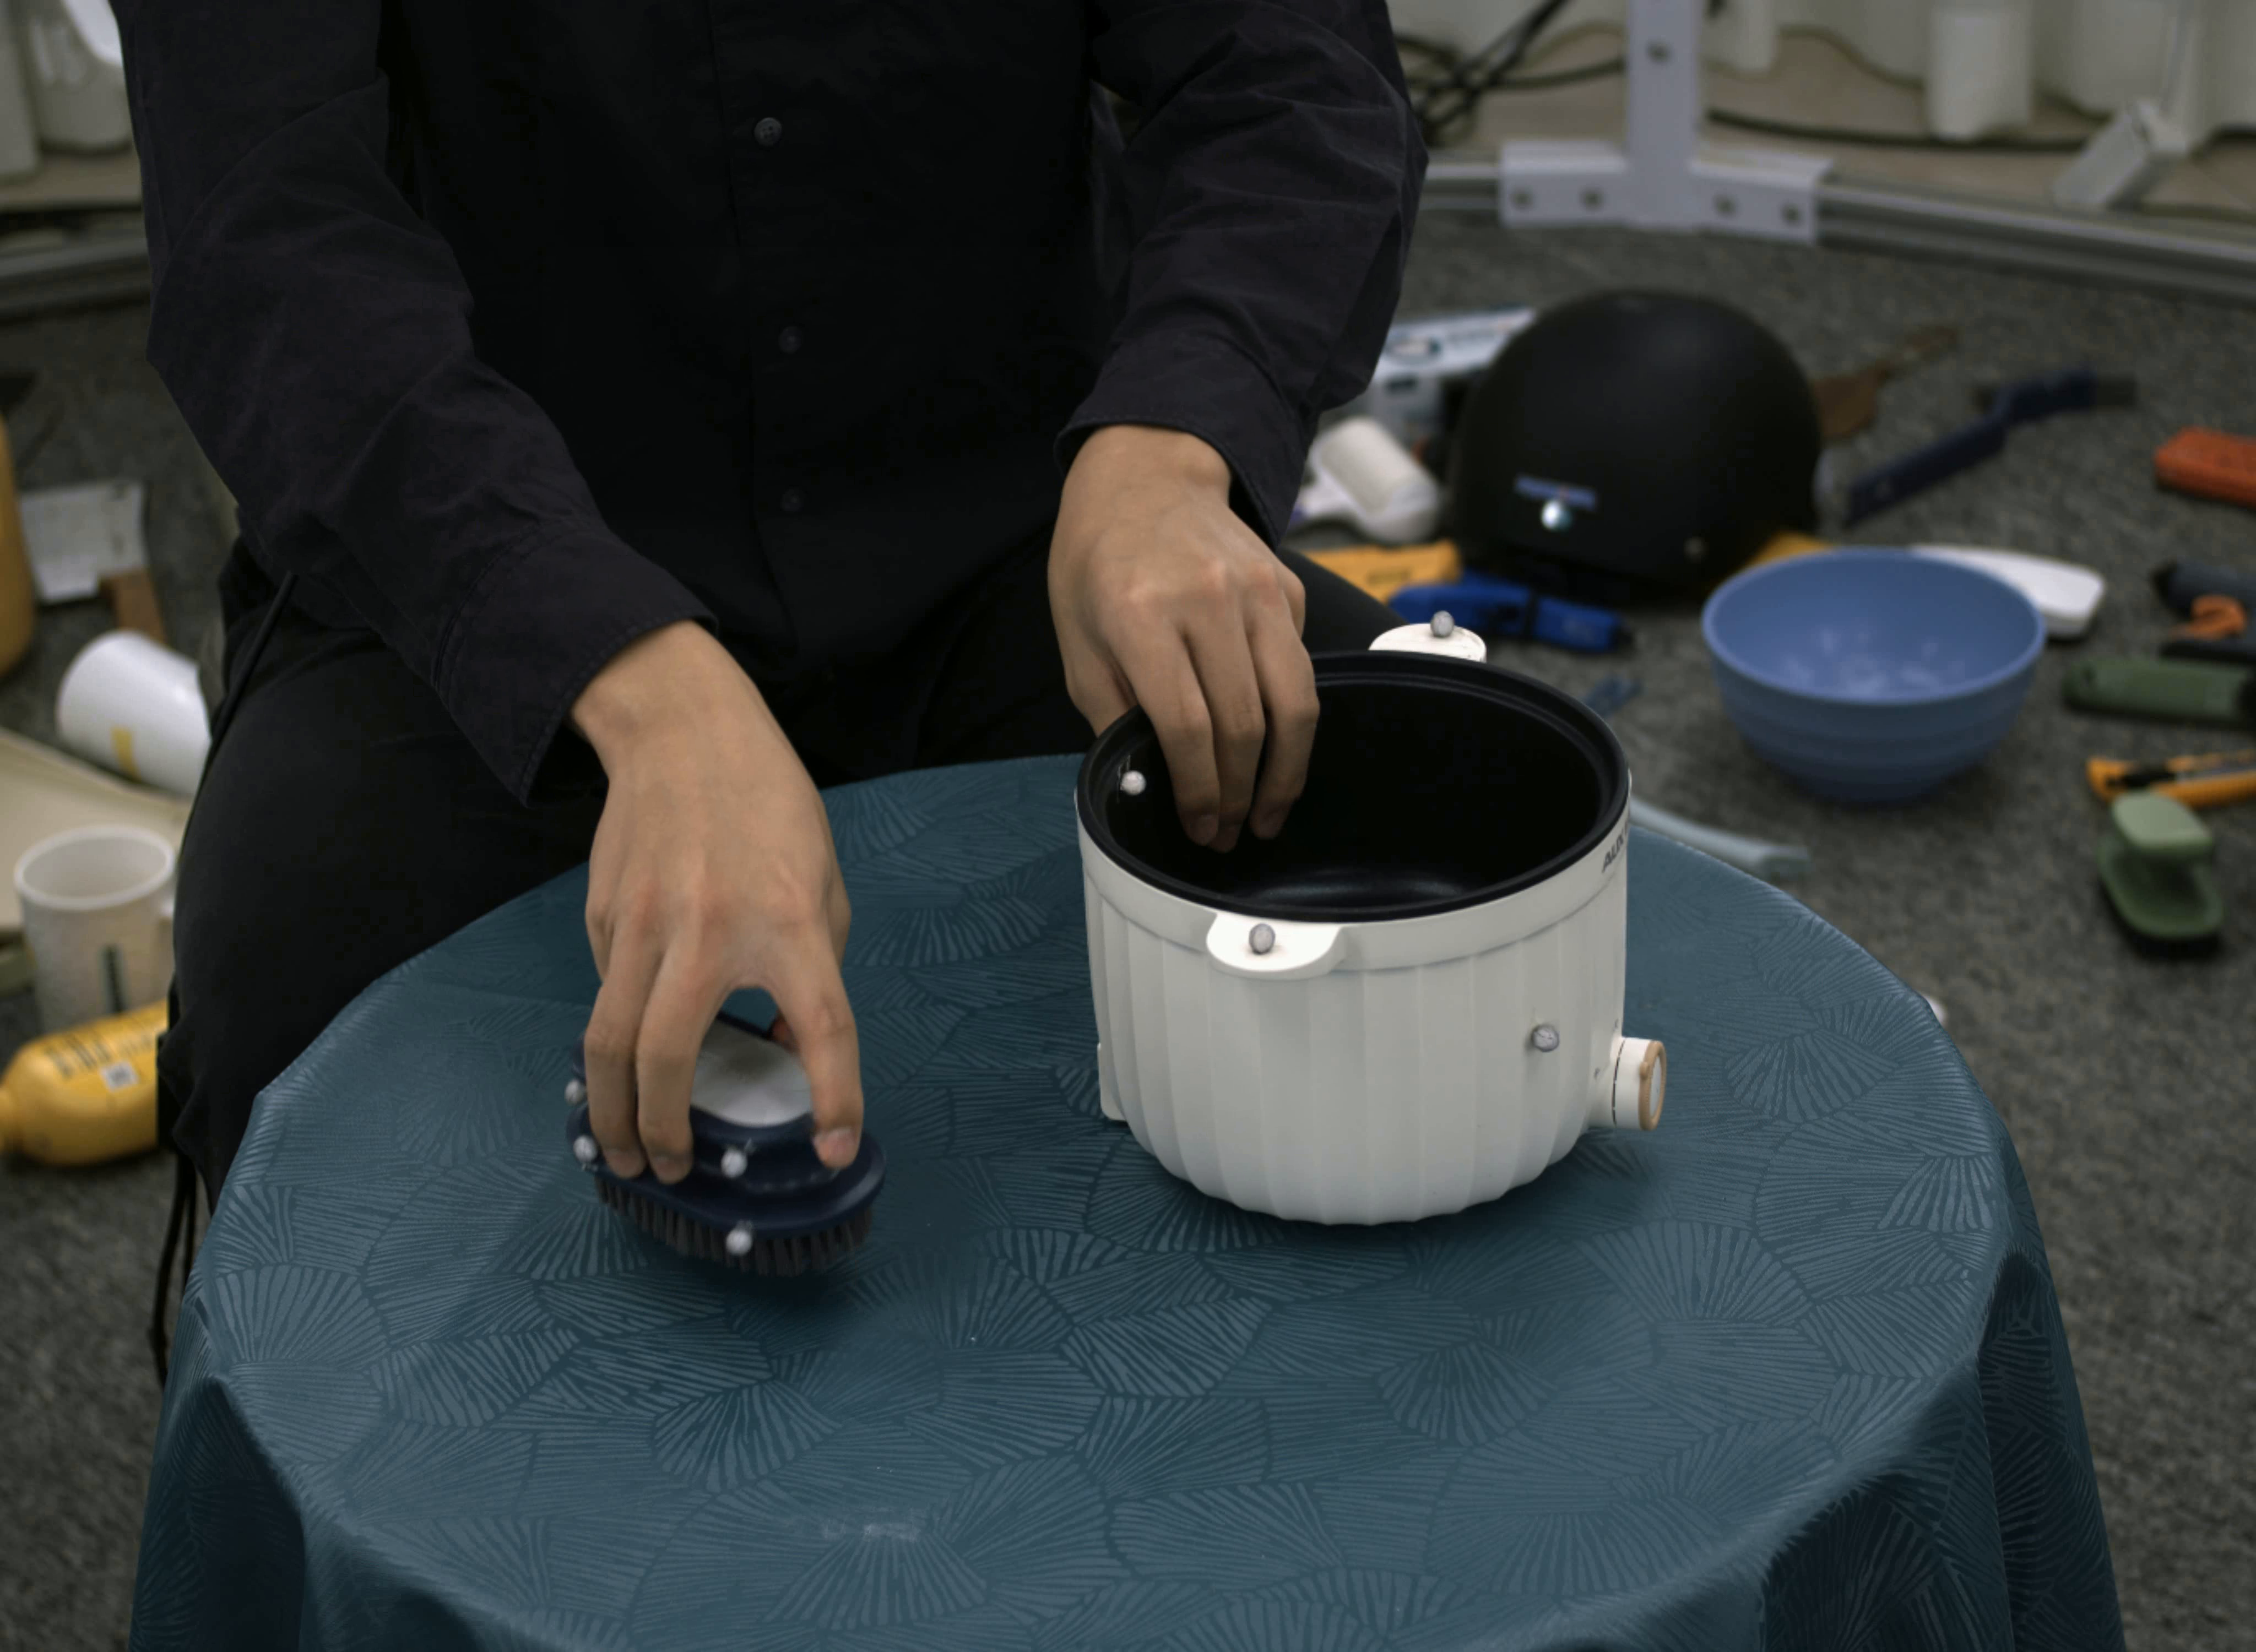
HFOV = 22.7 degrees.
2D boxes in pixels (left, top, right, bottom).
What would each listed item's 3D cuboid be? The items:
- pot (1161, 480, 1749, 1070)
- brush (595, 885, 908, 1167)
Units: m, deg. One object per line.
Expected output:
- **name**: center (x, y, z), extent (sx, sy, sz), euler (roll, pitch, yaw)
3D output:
- **pot**: center (0.110, -0.009, 1.883), extent (0.189, 0.141, 0.245), euler (2, 29, 16)
- **brush**: center (-0.124, 0.067, 1.840), extent (0.069, 0.060, 0.121), euler (-29, 39, -35)
